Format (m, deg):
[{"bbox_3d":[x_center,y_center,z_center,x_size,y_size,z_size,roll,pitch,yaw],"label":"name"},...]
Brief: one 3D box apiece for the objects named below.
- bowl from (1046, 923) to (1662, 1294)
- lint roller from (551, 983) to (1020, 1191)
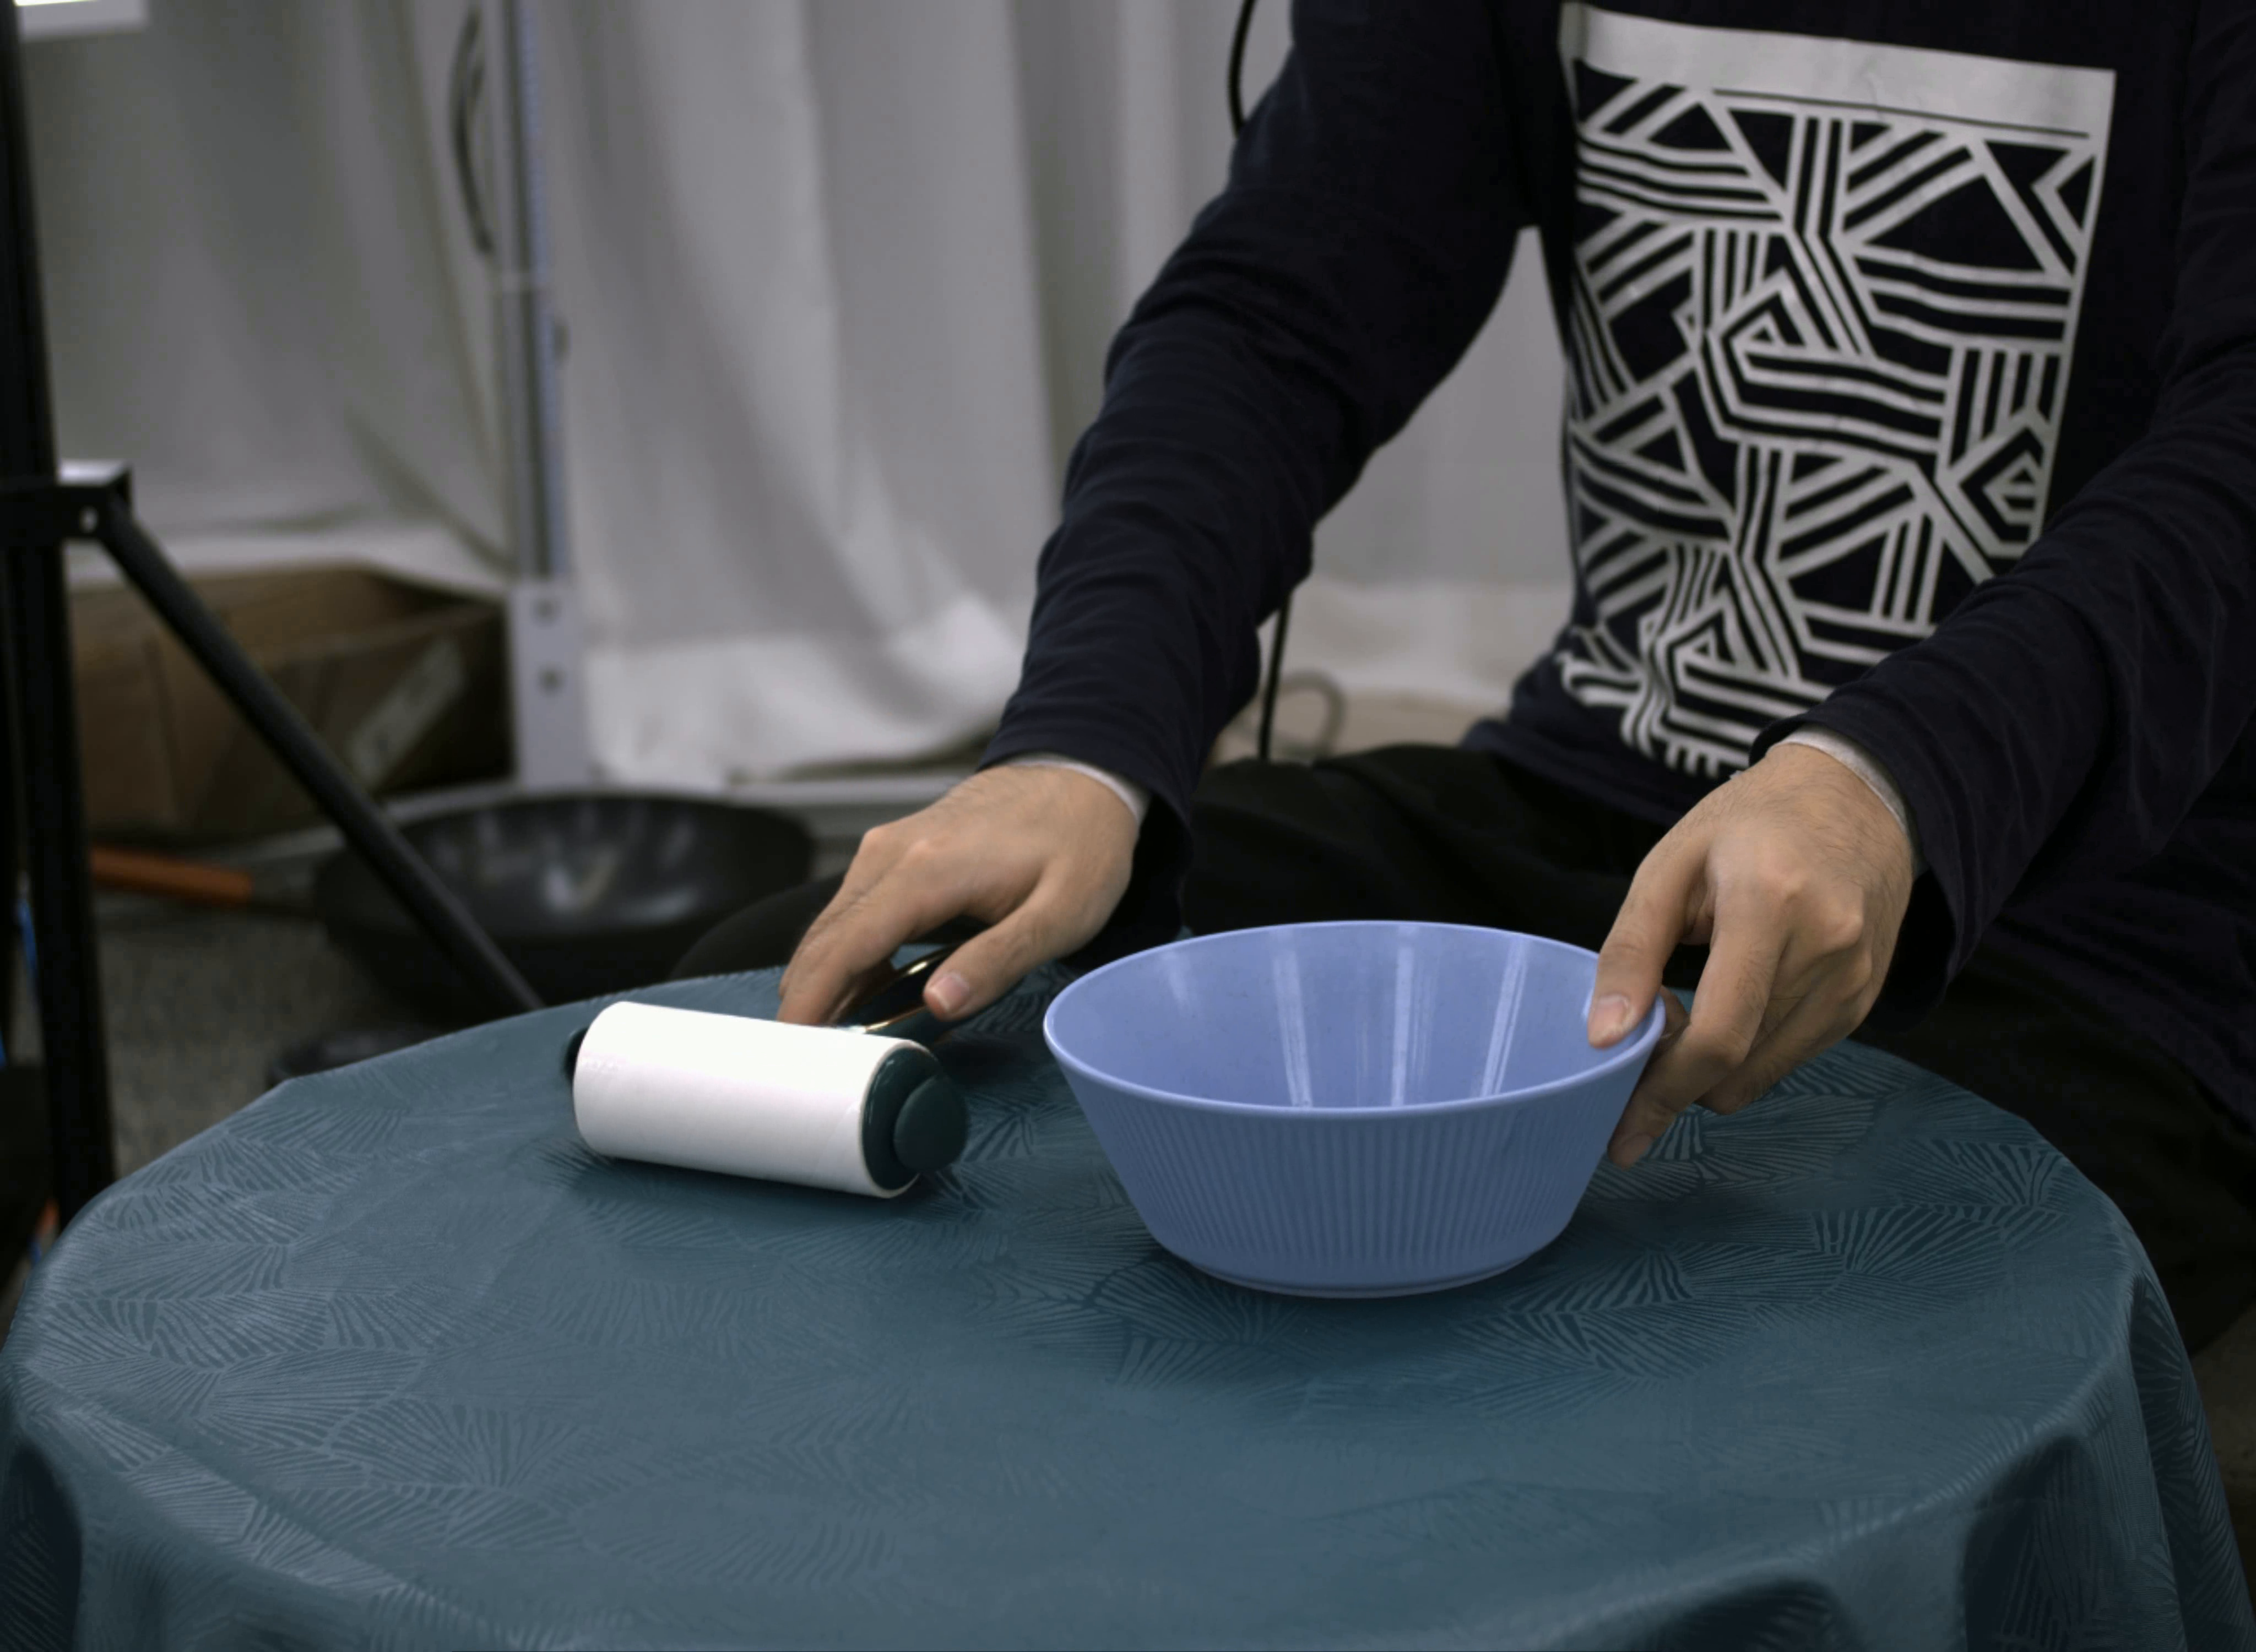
[{"bbox_3d":[0.065,0.083,1.508,0.175,0.070,0.177,-3,15,-1],"label":"bowl"},{"bbox_3d":[-0.082,0.060,1.643,0.136,0.048,0.177,5,20,28],"label":"lint roller"}]
